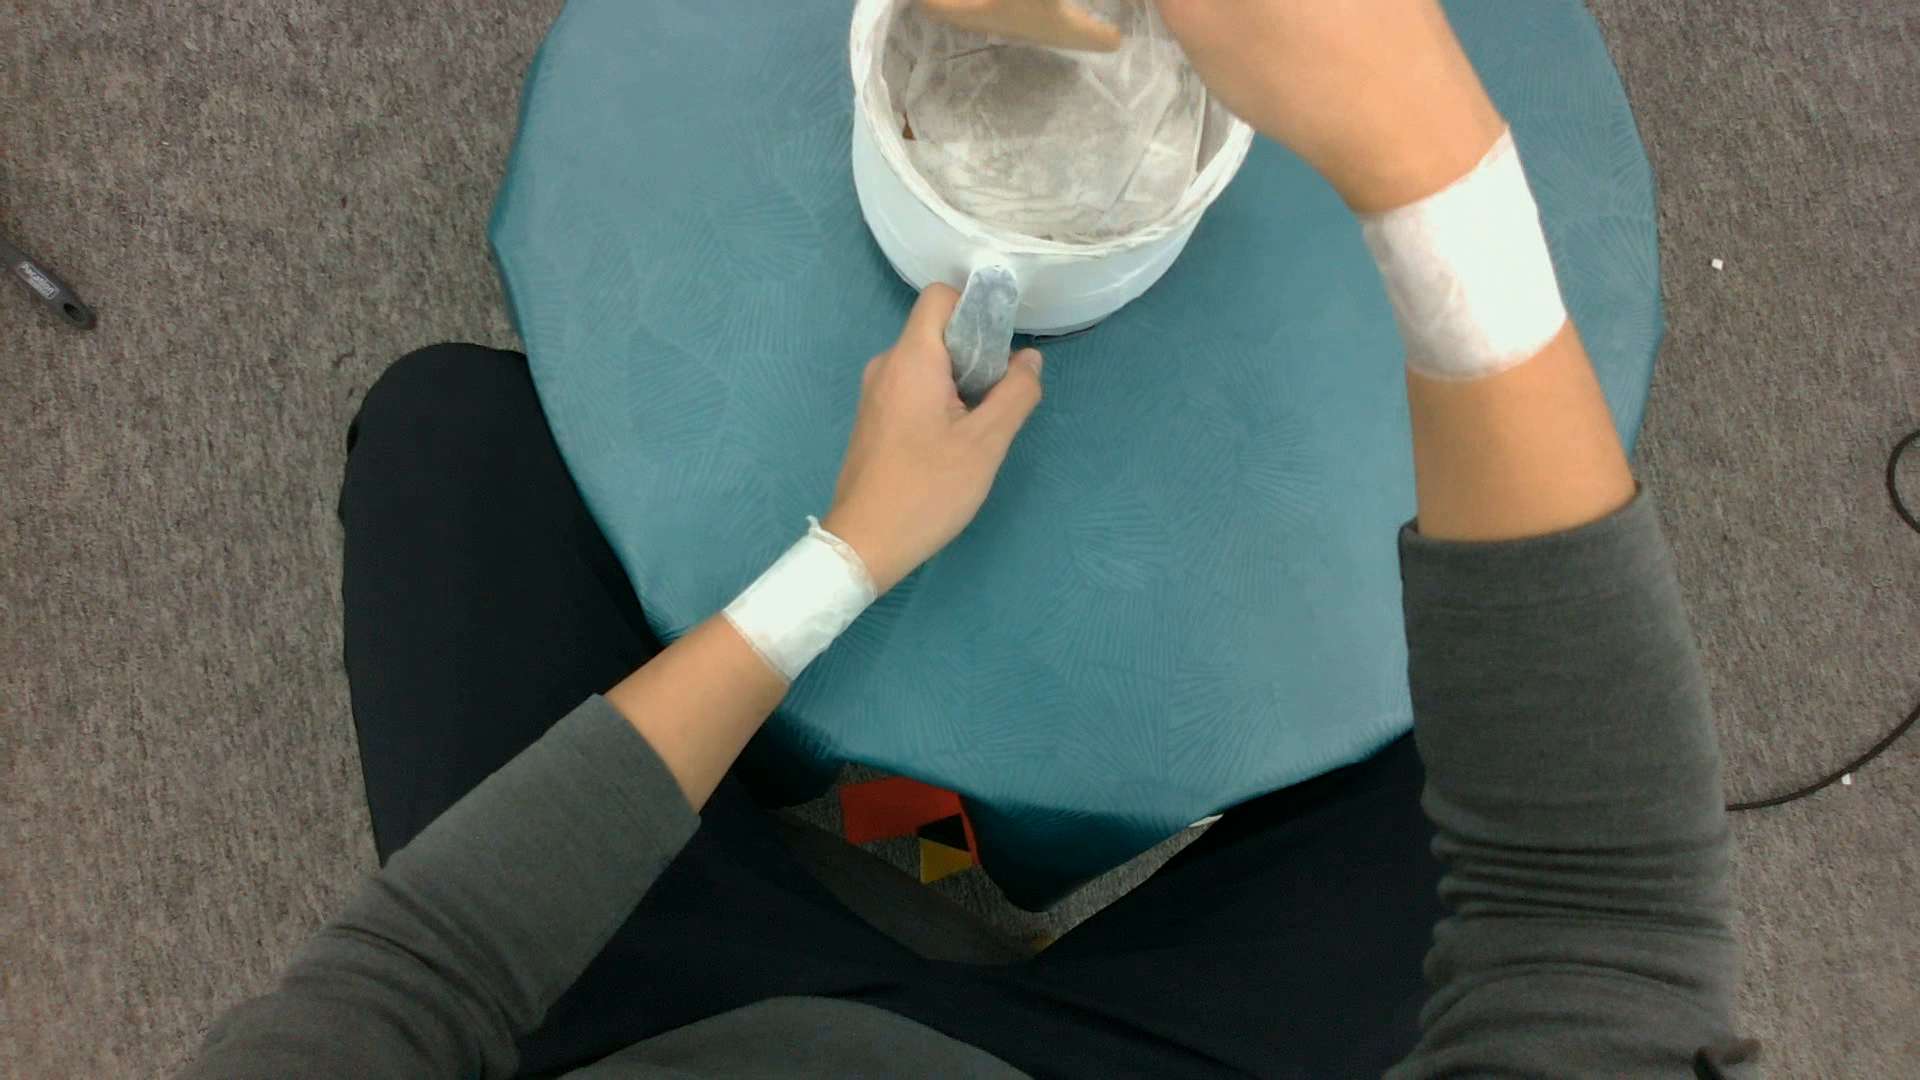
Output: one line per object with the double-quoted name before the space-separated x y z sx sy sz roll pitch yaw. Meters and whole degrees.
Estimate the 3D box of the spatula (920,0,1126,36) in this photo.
"spatula" 0.038 -0.212 0.475 0.096 0.391 0.018 7 99 -5

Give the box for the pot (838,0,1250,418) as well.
"pot" 0.024 -0.175 0.645 0.179 0.136 0.234 16 82 -3
